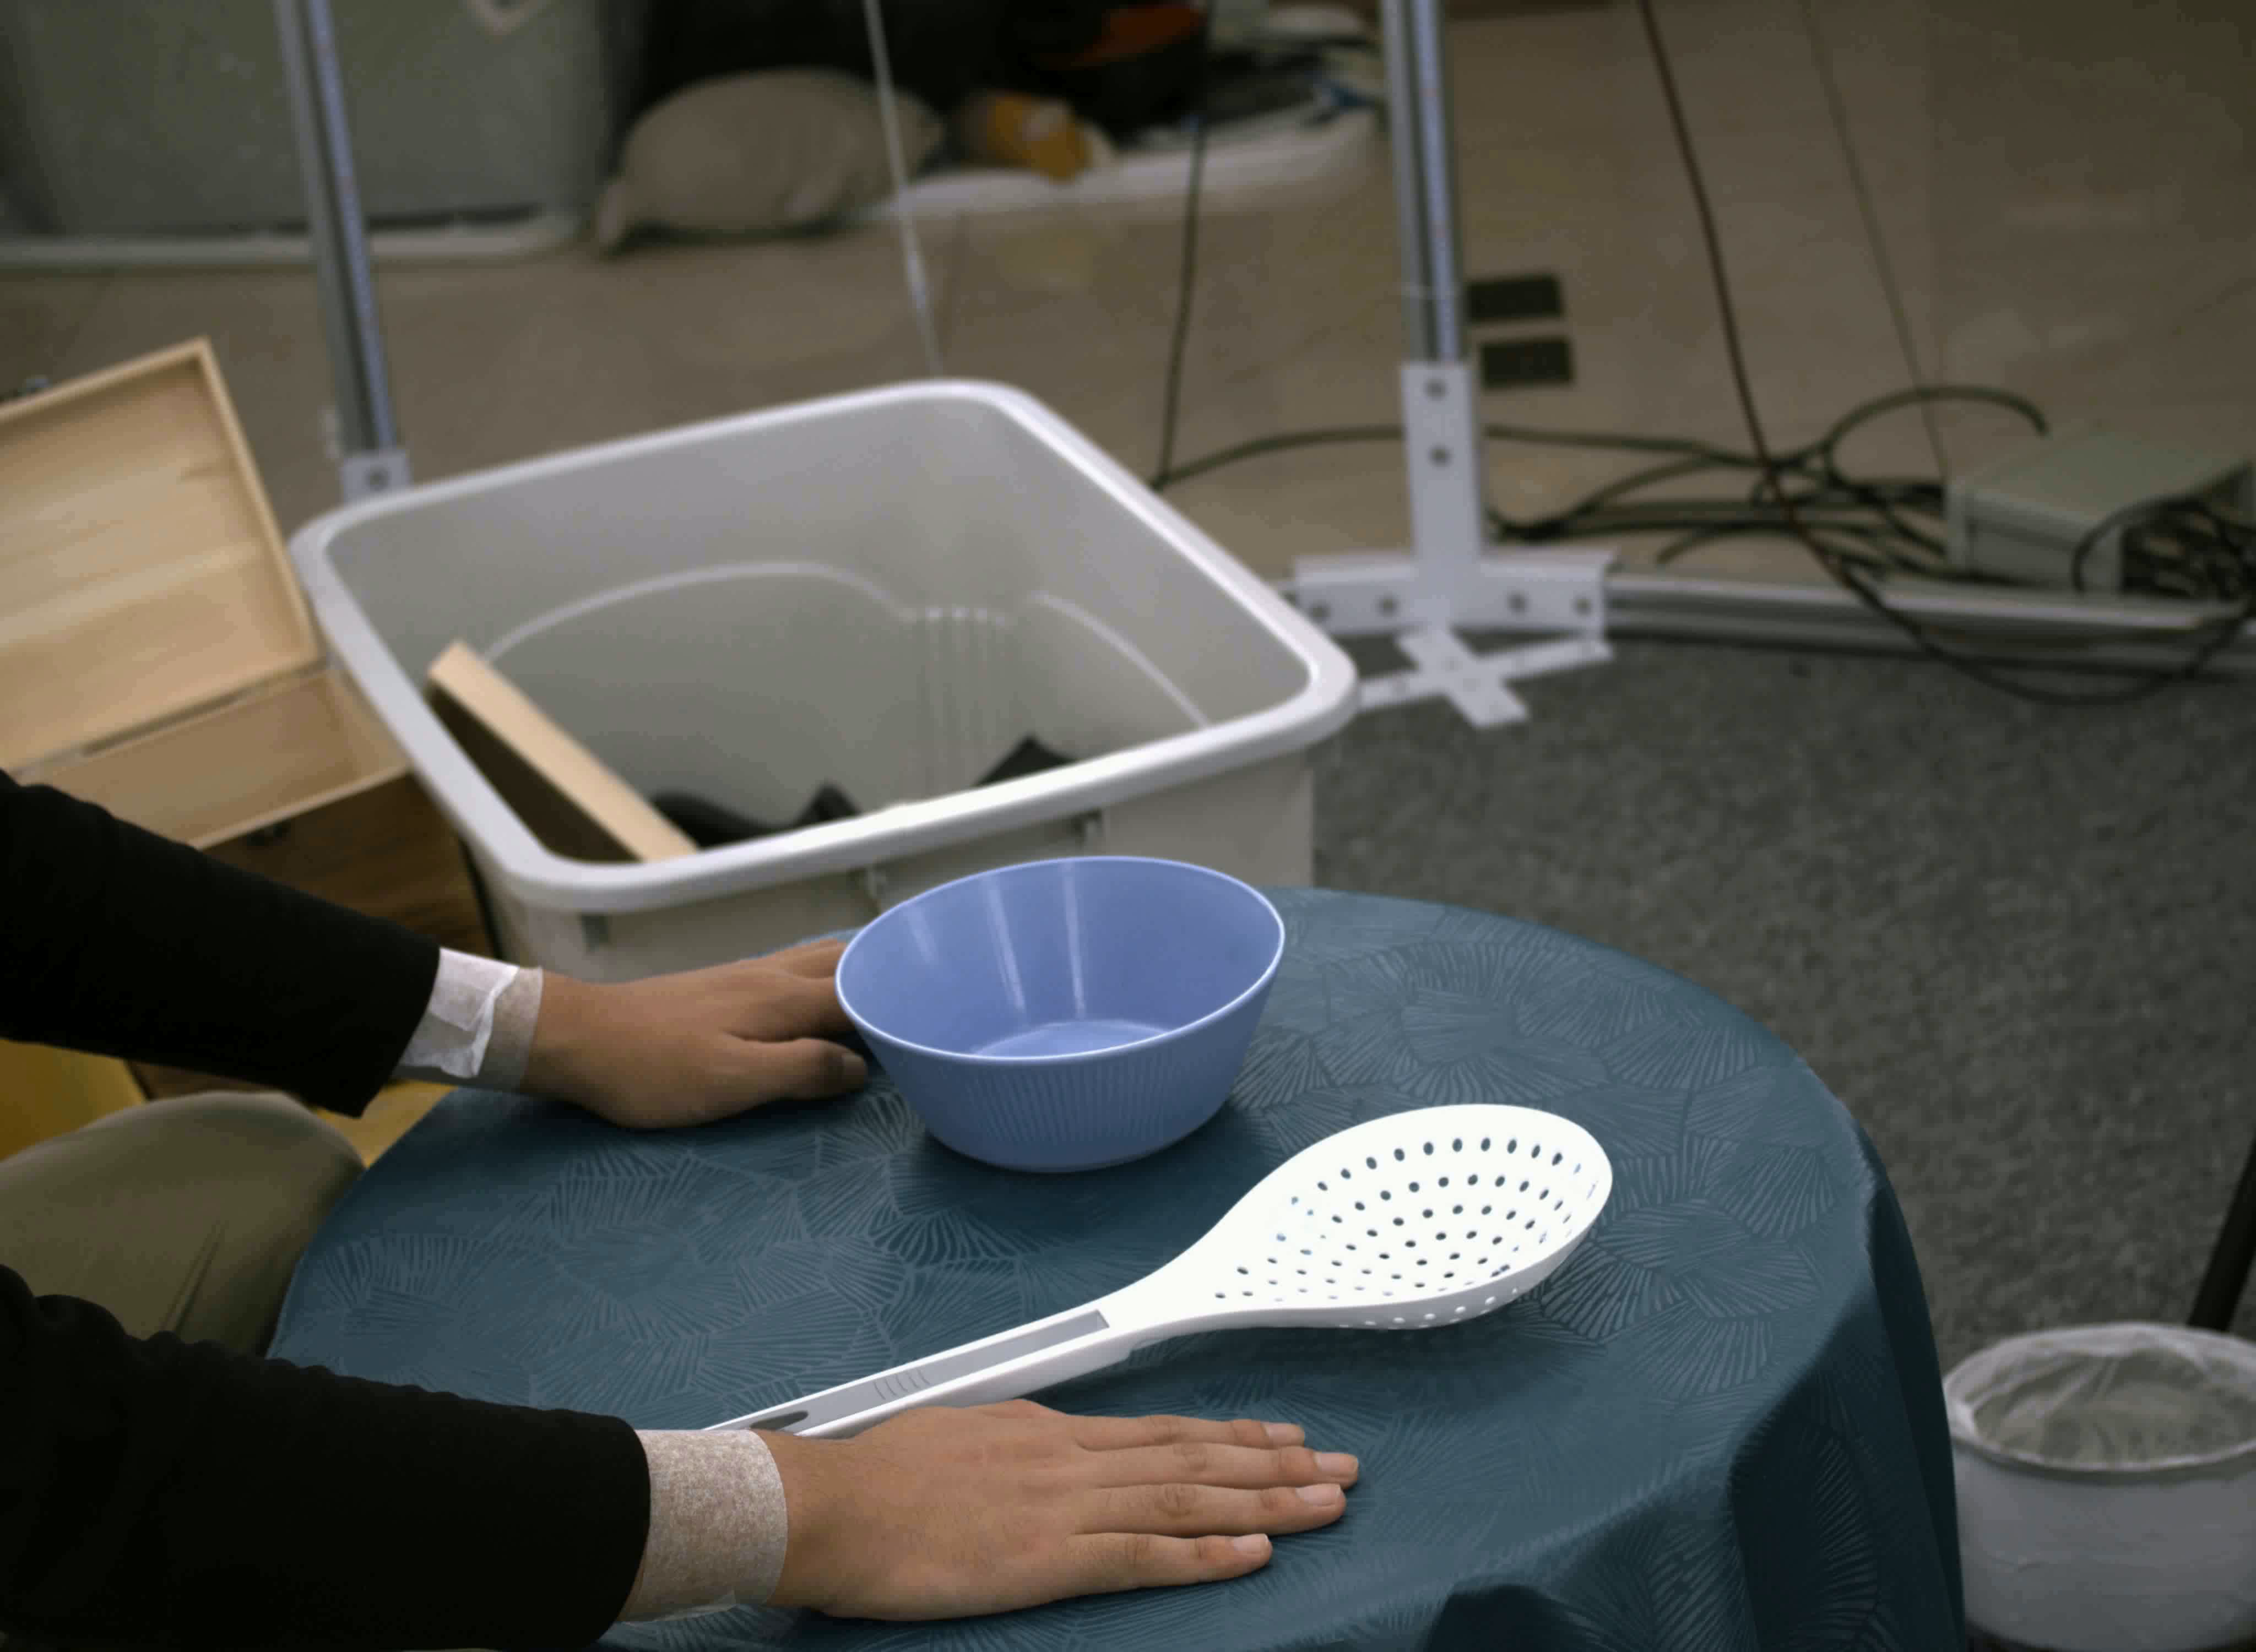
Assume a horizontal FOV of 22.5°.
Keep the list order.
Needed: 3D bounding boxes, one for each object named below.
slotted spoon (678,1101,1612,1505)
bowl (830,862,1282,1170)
[{"bbox_3d":[0.008,0.174,2.016,0.348,0.046,0.134,-14,26,-14],"label":"slotted spoon"},{"bbox_3d":[-0.024,0.079,2.199,0.176,0.071,0.173,-6,25,3],"label":"bowl"}]
